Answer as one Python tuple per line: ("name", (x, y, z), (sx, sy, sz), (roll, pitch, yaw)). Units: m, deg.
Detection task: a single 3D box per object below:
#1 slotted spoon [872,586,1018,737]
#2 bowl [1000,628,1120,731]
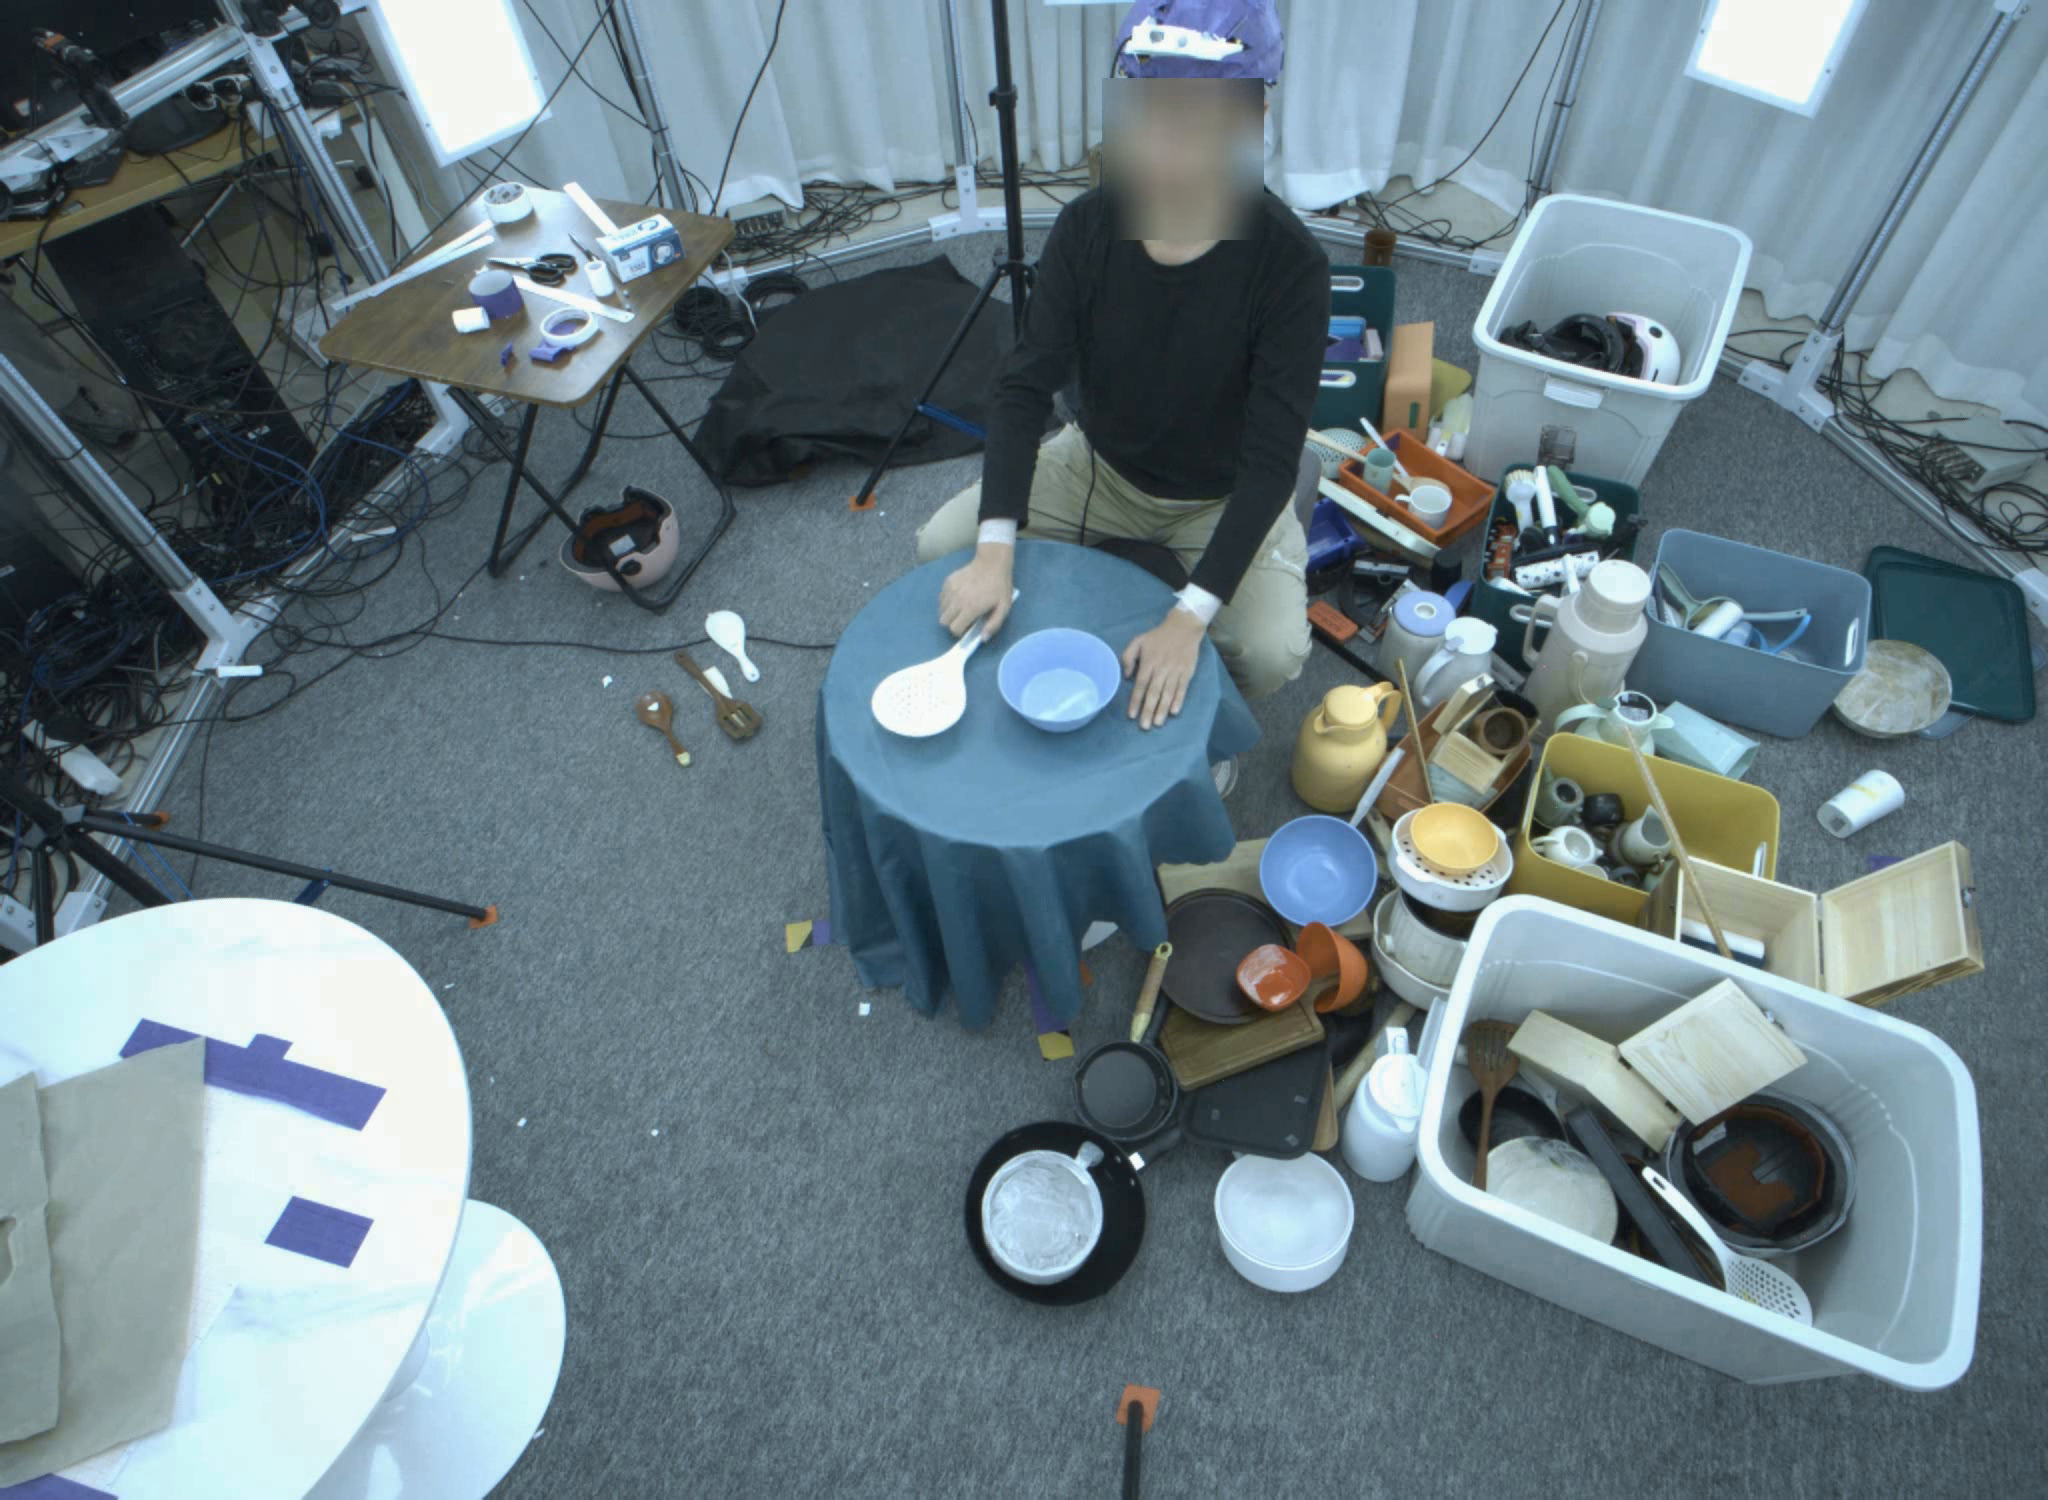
("slotted spoon", (-0.104, -0.140, 1.862), (0.134, 0.046, 0.350), (22, 57, 18))
("bowl", (0.053, -0.093, 1.809), (0.176, 0.071, 0.174), (0, 54, 2))
